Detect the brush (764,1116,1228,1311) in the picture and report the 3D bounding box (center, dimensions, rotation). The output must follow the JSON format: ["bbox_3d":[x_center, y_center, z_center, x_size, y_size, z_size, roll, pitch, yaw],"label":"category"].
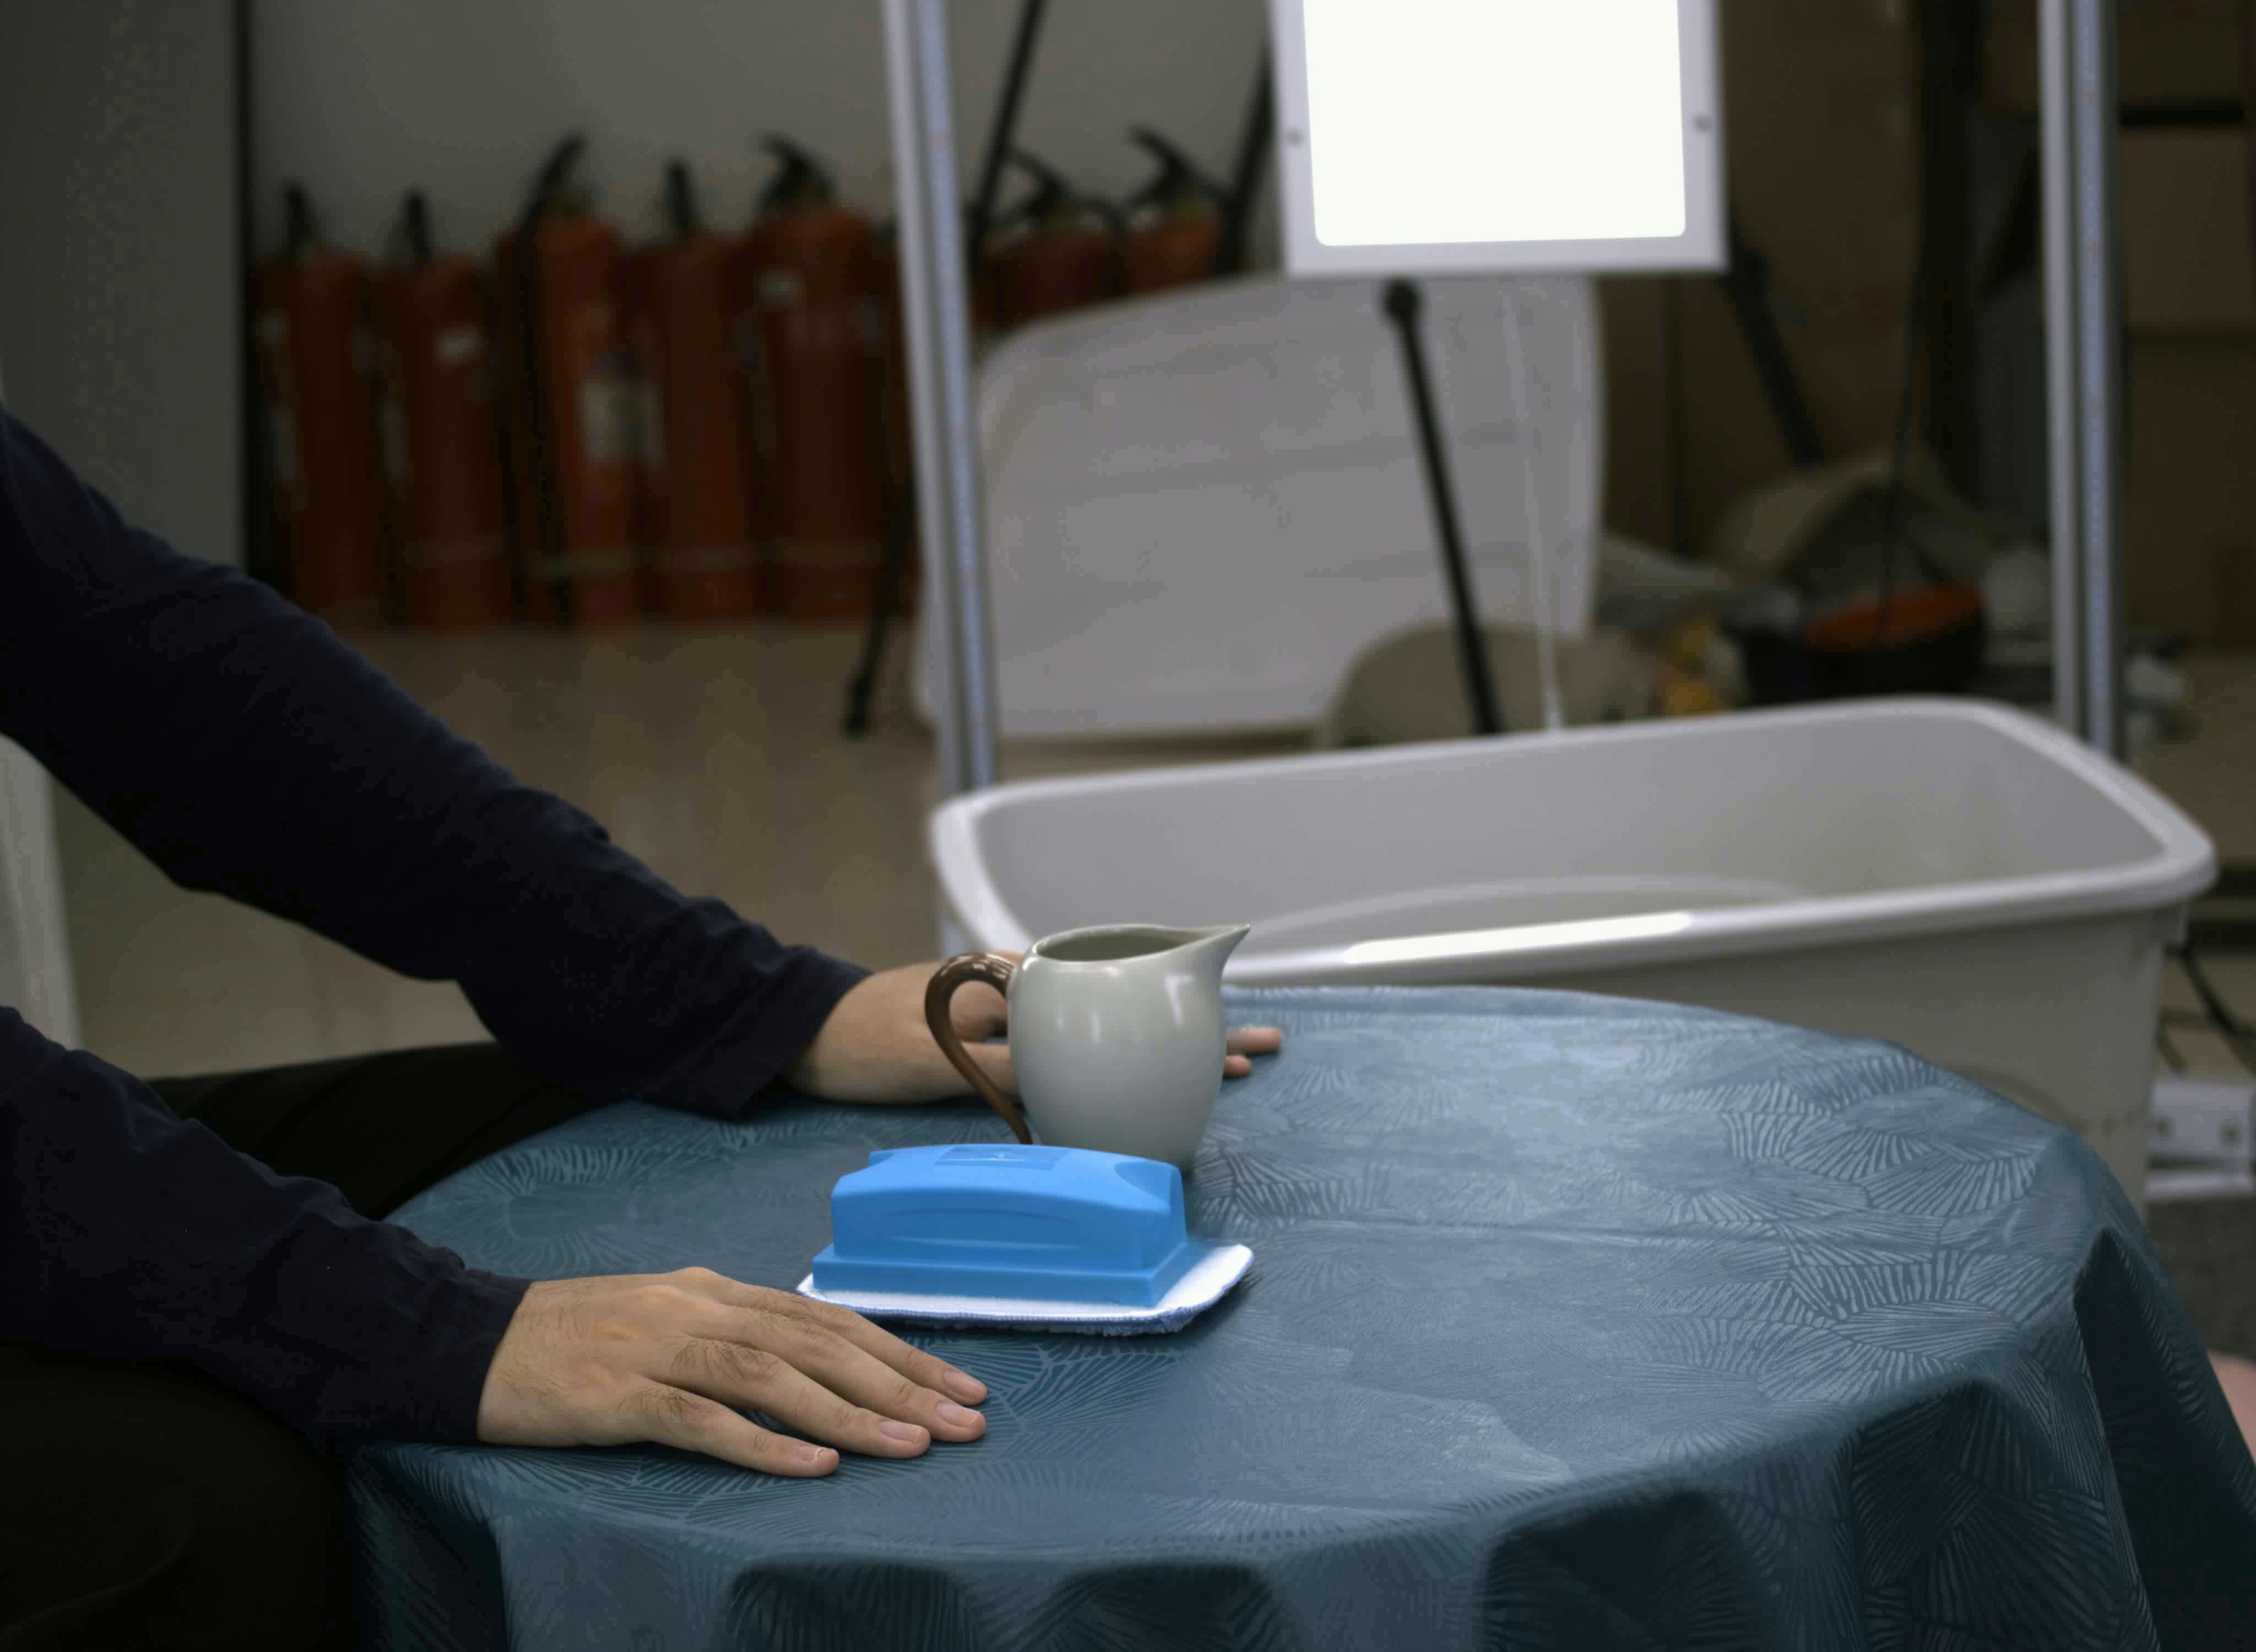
[{"bbox_3d":[-0.043,0.125,1.792,0.146,0.056,0.082,4,13,25],"label":"brush"}]

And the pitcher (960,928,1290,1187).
[{"bbox_3d":[-0.002,0.078,1.913,0.120,0.088,0.074,4,11,19],"label":"pitcher"}]
